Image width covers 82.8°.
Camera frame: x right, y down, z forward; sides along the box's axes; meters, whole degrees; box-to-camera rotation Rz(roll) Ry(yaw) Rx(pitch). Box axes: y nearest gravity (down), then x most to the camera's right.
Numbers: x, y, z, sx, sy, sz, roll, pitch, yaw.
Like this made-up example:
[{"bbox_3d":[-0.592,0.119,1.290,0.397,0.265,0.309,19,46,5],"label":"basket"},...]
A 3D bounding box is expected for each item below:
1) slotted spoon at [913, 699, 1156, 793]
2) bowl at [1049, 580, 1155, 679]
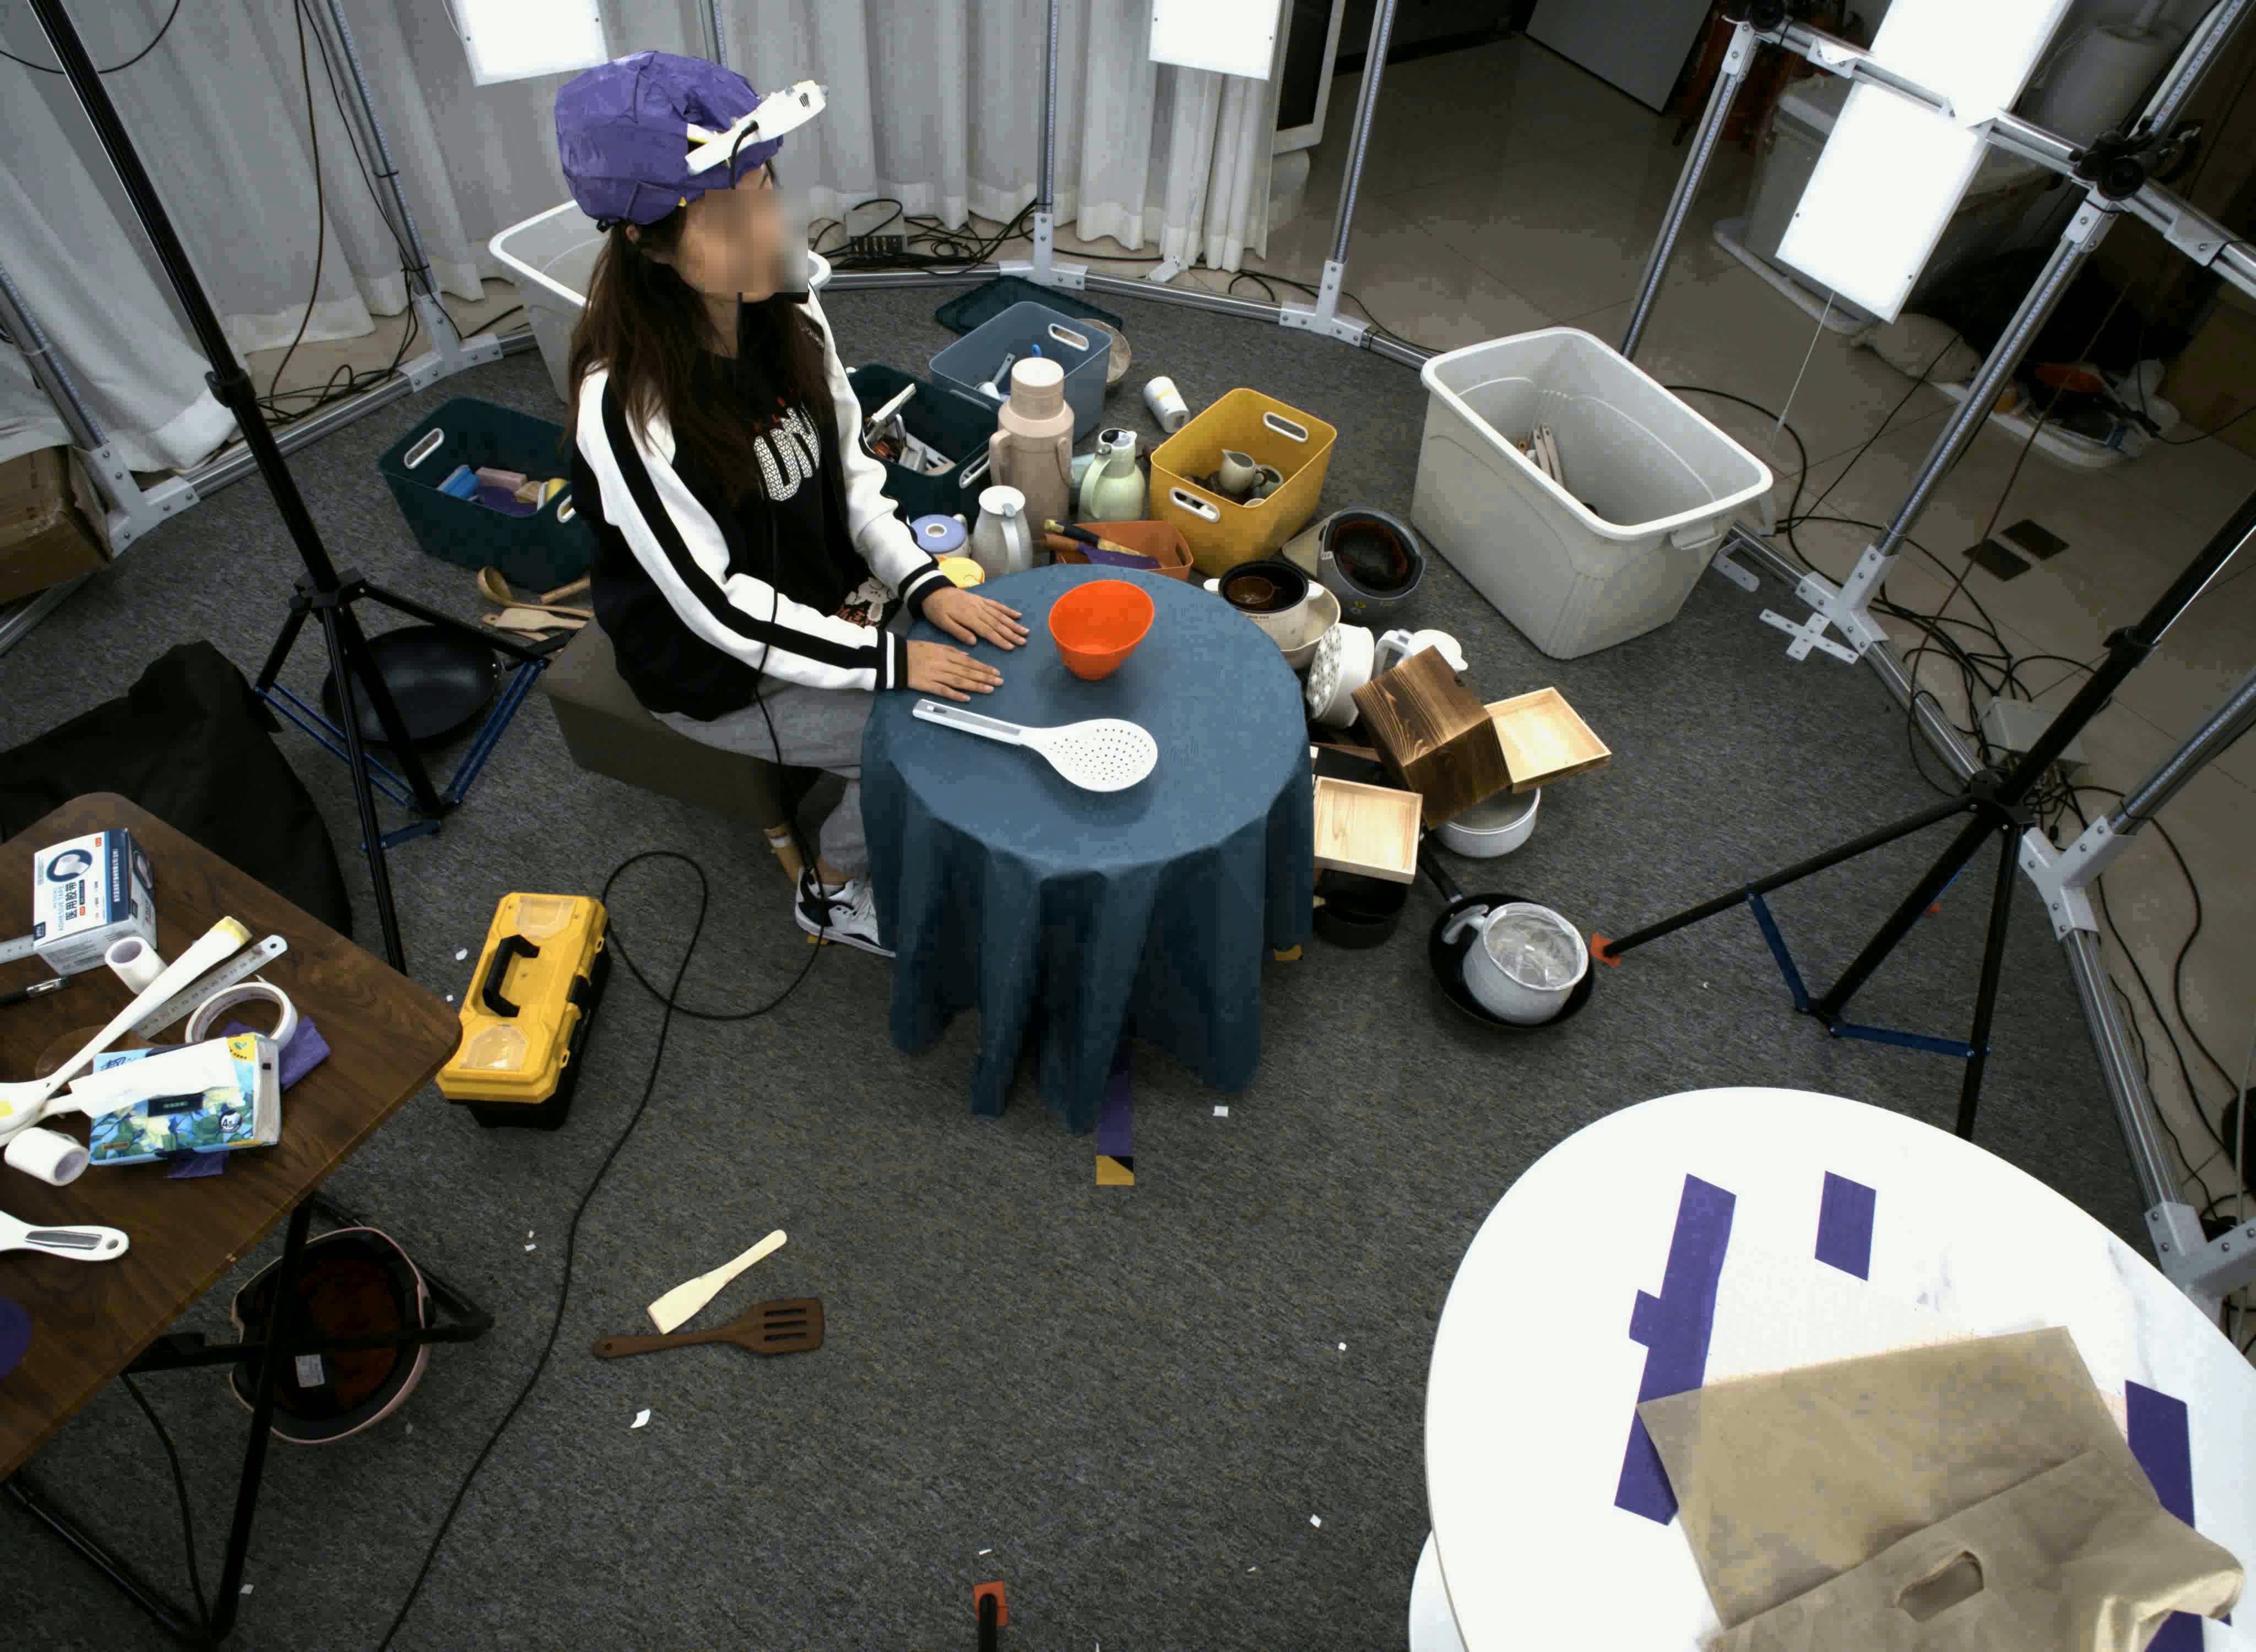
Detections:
[{"bbox_3d":[-0.131,-0.118,1.735,0.351,0.044,0.138,19,49,13],"label":"slotted spoon"},{"bbox_3d":[-0.039,-0.269,1.834,0.148,0.102,0.151,2,53,-2],"label":"bowl"}]
